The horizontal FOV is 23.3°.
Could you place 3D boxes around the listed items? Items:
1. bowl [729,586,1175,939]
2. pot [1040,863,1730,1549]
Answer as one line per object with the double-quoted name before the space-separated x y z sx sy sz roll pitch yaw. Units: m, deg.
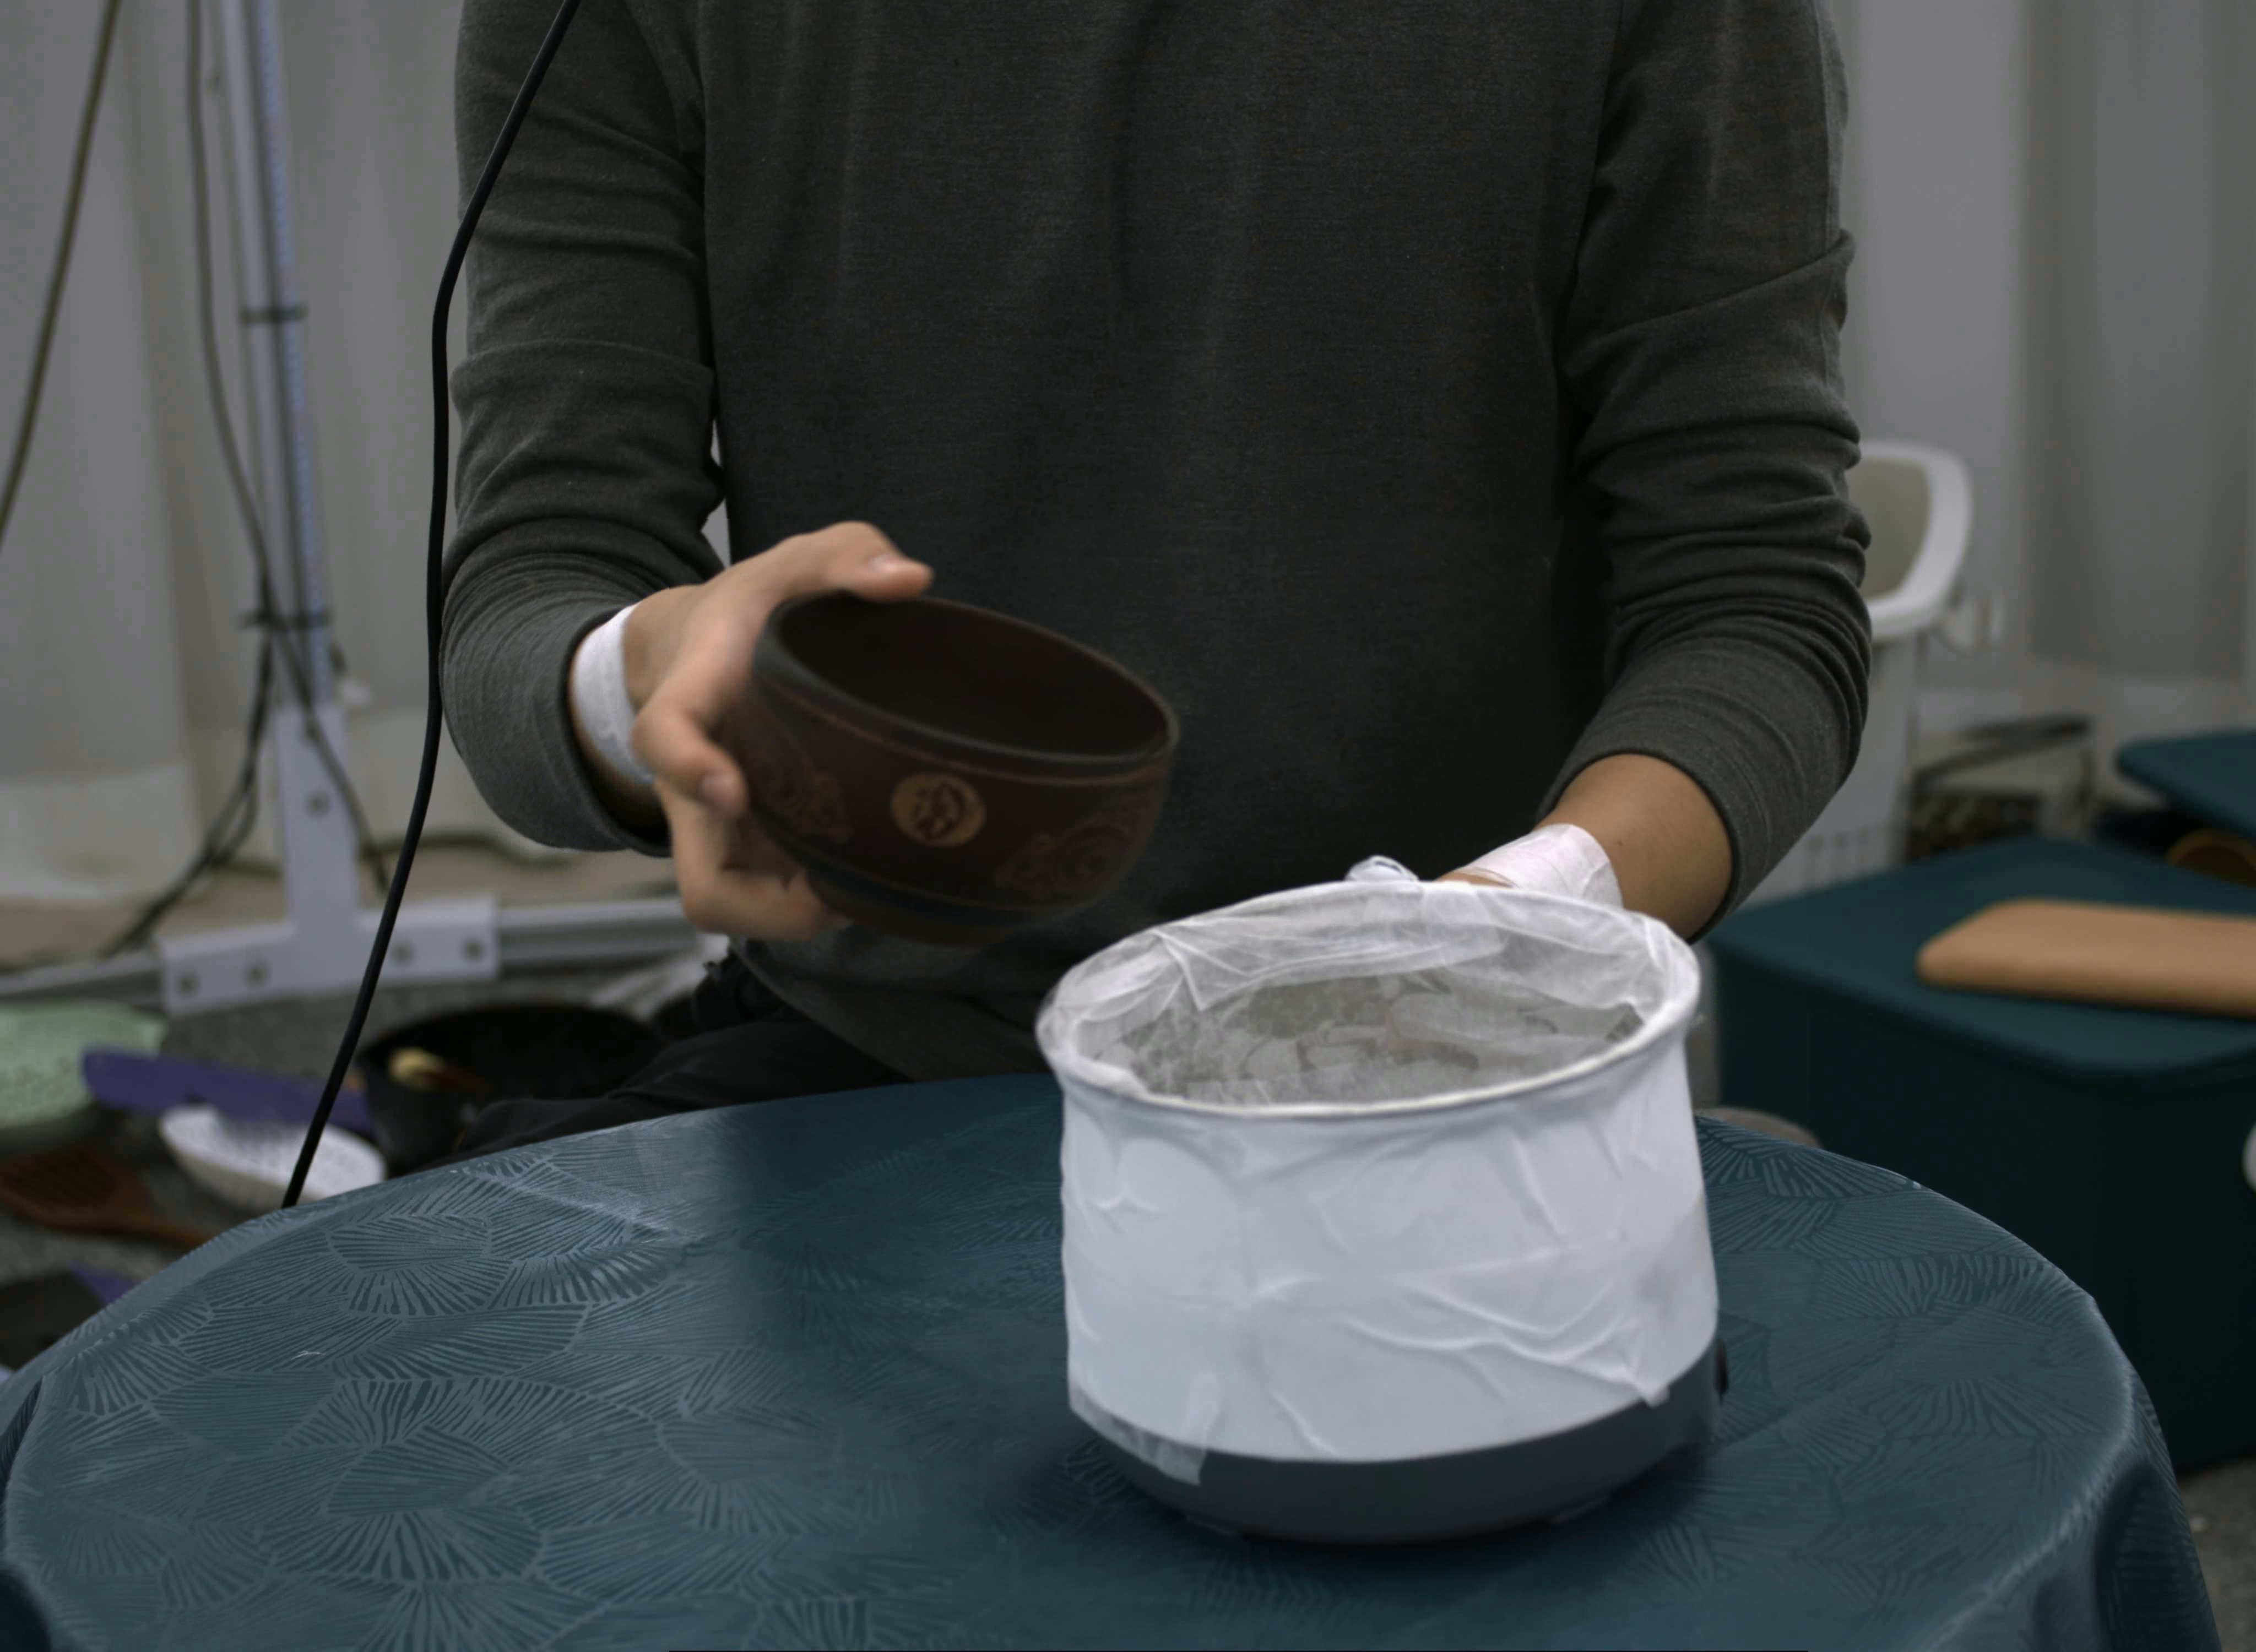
"bowl" -0.051 -0.012 1.462 0.117 0.069 0.119 12 17 -4
"pot" 0.071 0.097 1.491 0.178 0.136 0.235 -3 16 4
